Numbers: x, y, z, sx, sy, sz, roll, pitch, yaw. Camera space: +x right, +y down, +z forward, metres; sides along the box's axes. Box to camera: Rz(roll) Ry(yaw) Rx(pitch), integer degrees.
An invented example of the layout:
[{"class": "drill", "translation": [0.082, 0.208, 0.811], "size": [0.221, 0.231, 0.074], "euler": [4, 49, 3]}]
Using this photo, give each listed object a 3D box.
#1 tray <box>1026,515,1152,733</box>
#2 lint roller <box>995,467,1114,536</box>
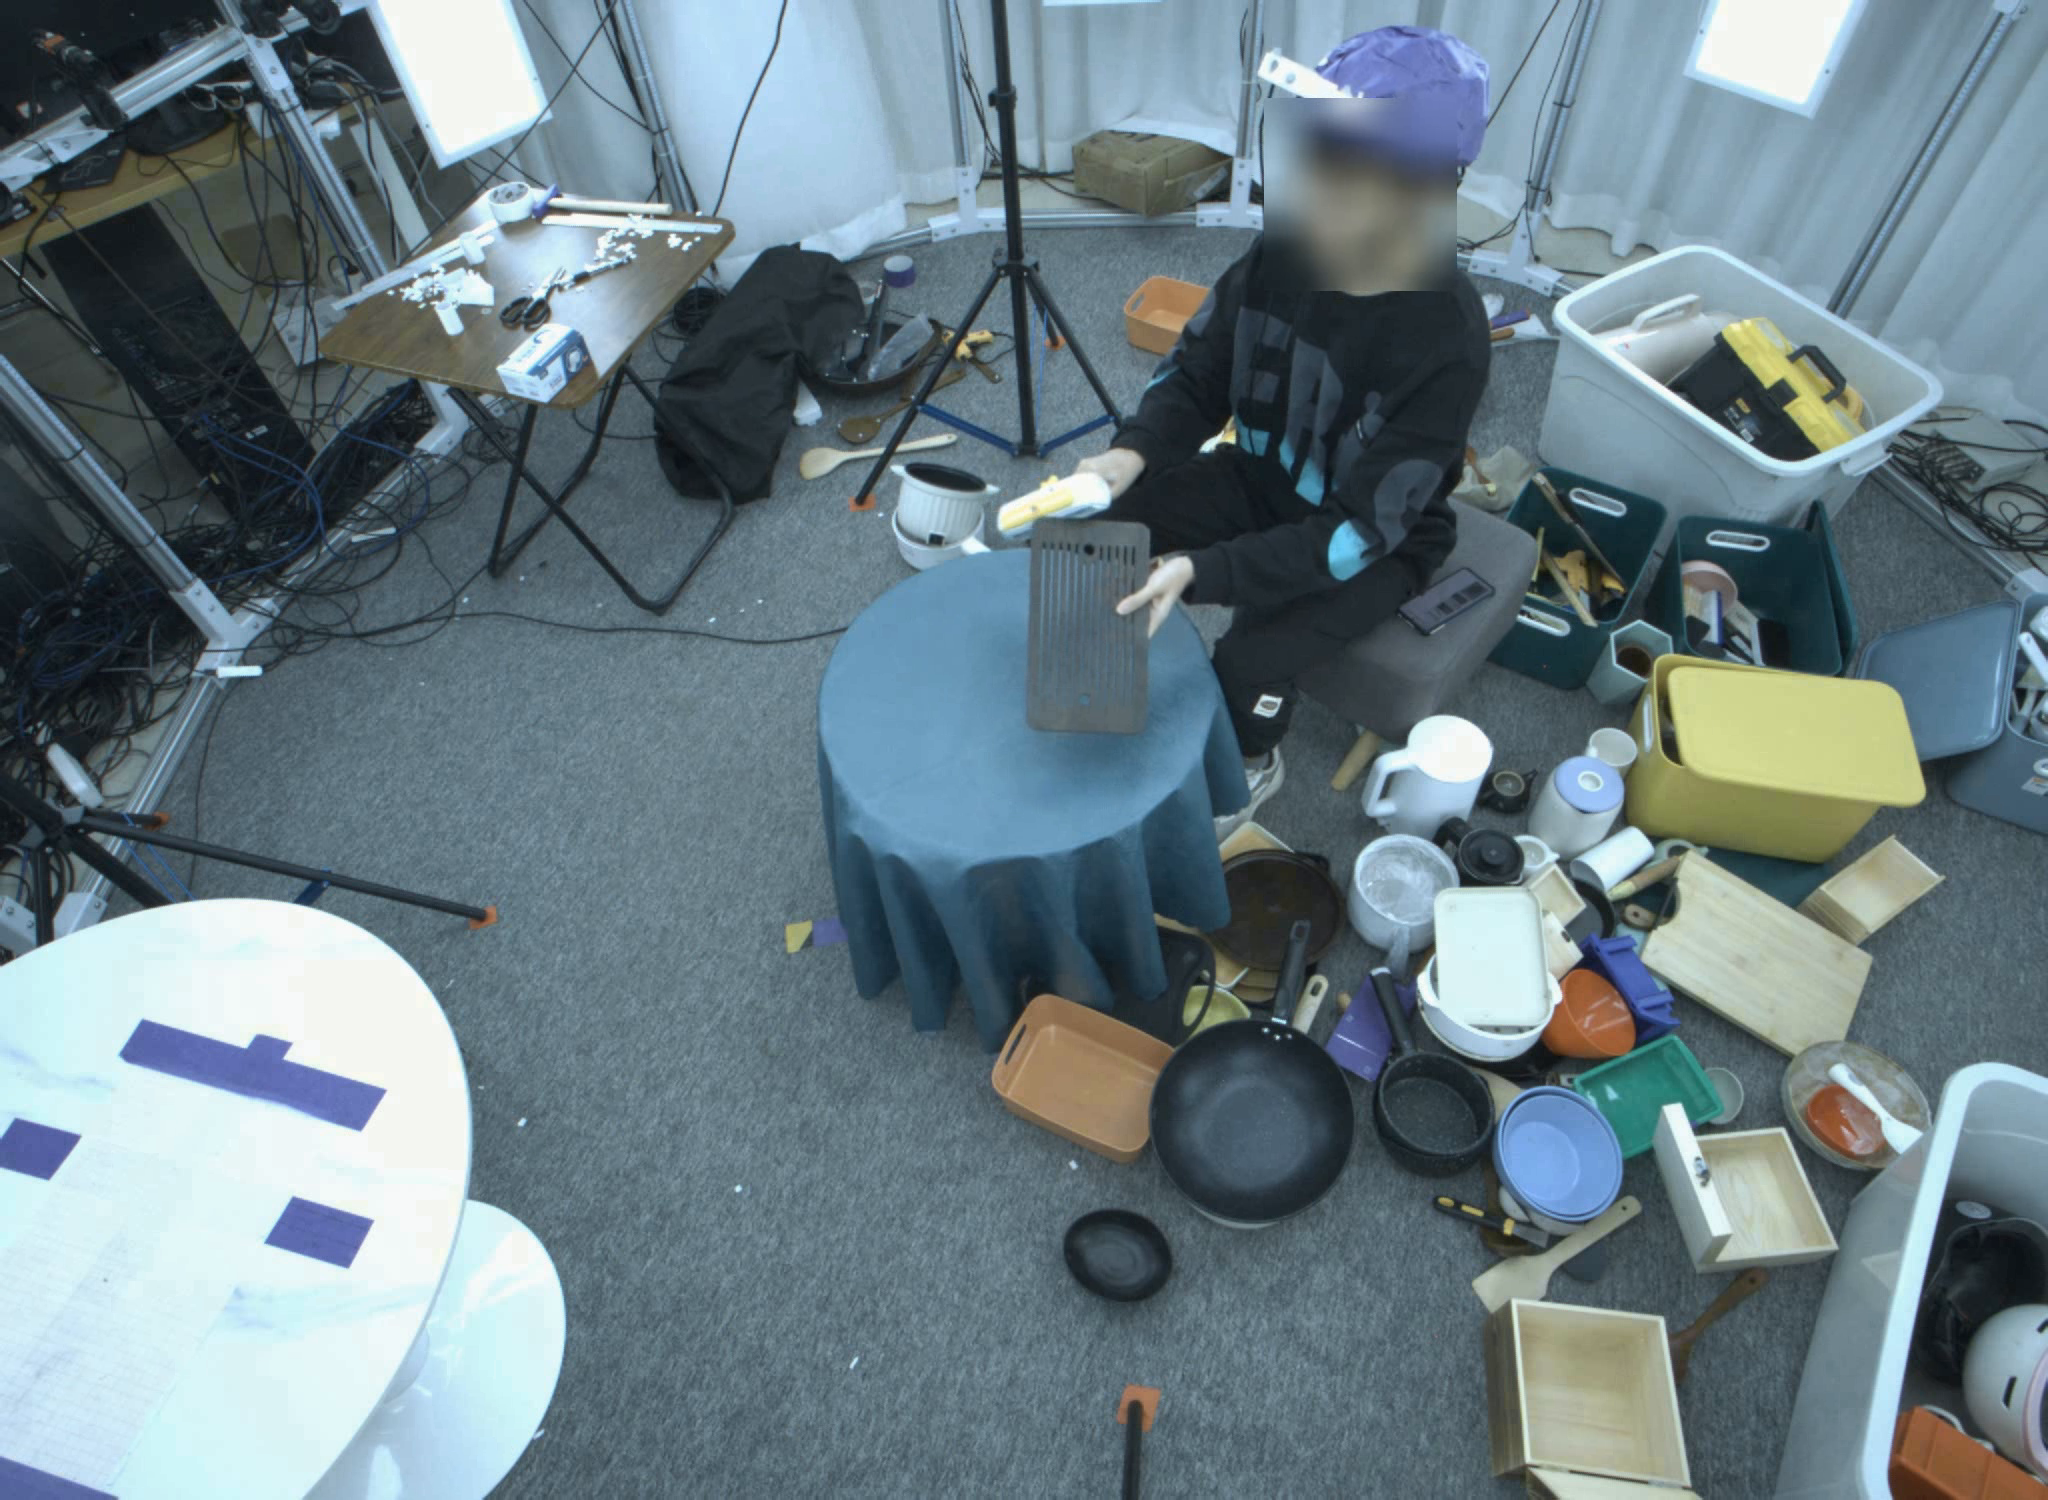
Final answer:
[{"class": "tray", "translation": [0.092, -0.177, 1.721], "size": [0.171, 0.018, 0.305], "euler": [3, 83, -7]}, {"class": "lint roller", "translation": [0.073, -0.370, 1.796], "size": [0.196, 0.189, 0.074], "euler": [-16, 88, -50]}]
